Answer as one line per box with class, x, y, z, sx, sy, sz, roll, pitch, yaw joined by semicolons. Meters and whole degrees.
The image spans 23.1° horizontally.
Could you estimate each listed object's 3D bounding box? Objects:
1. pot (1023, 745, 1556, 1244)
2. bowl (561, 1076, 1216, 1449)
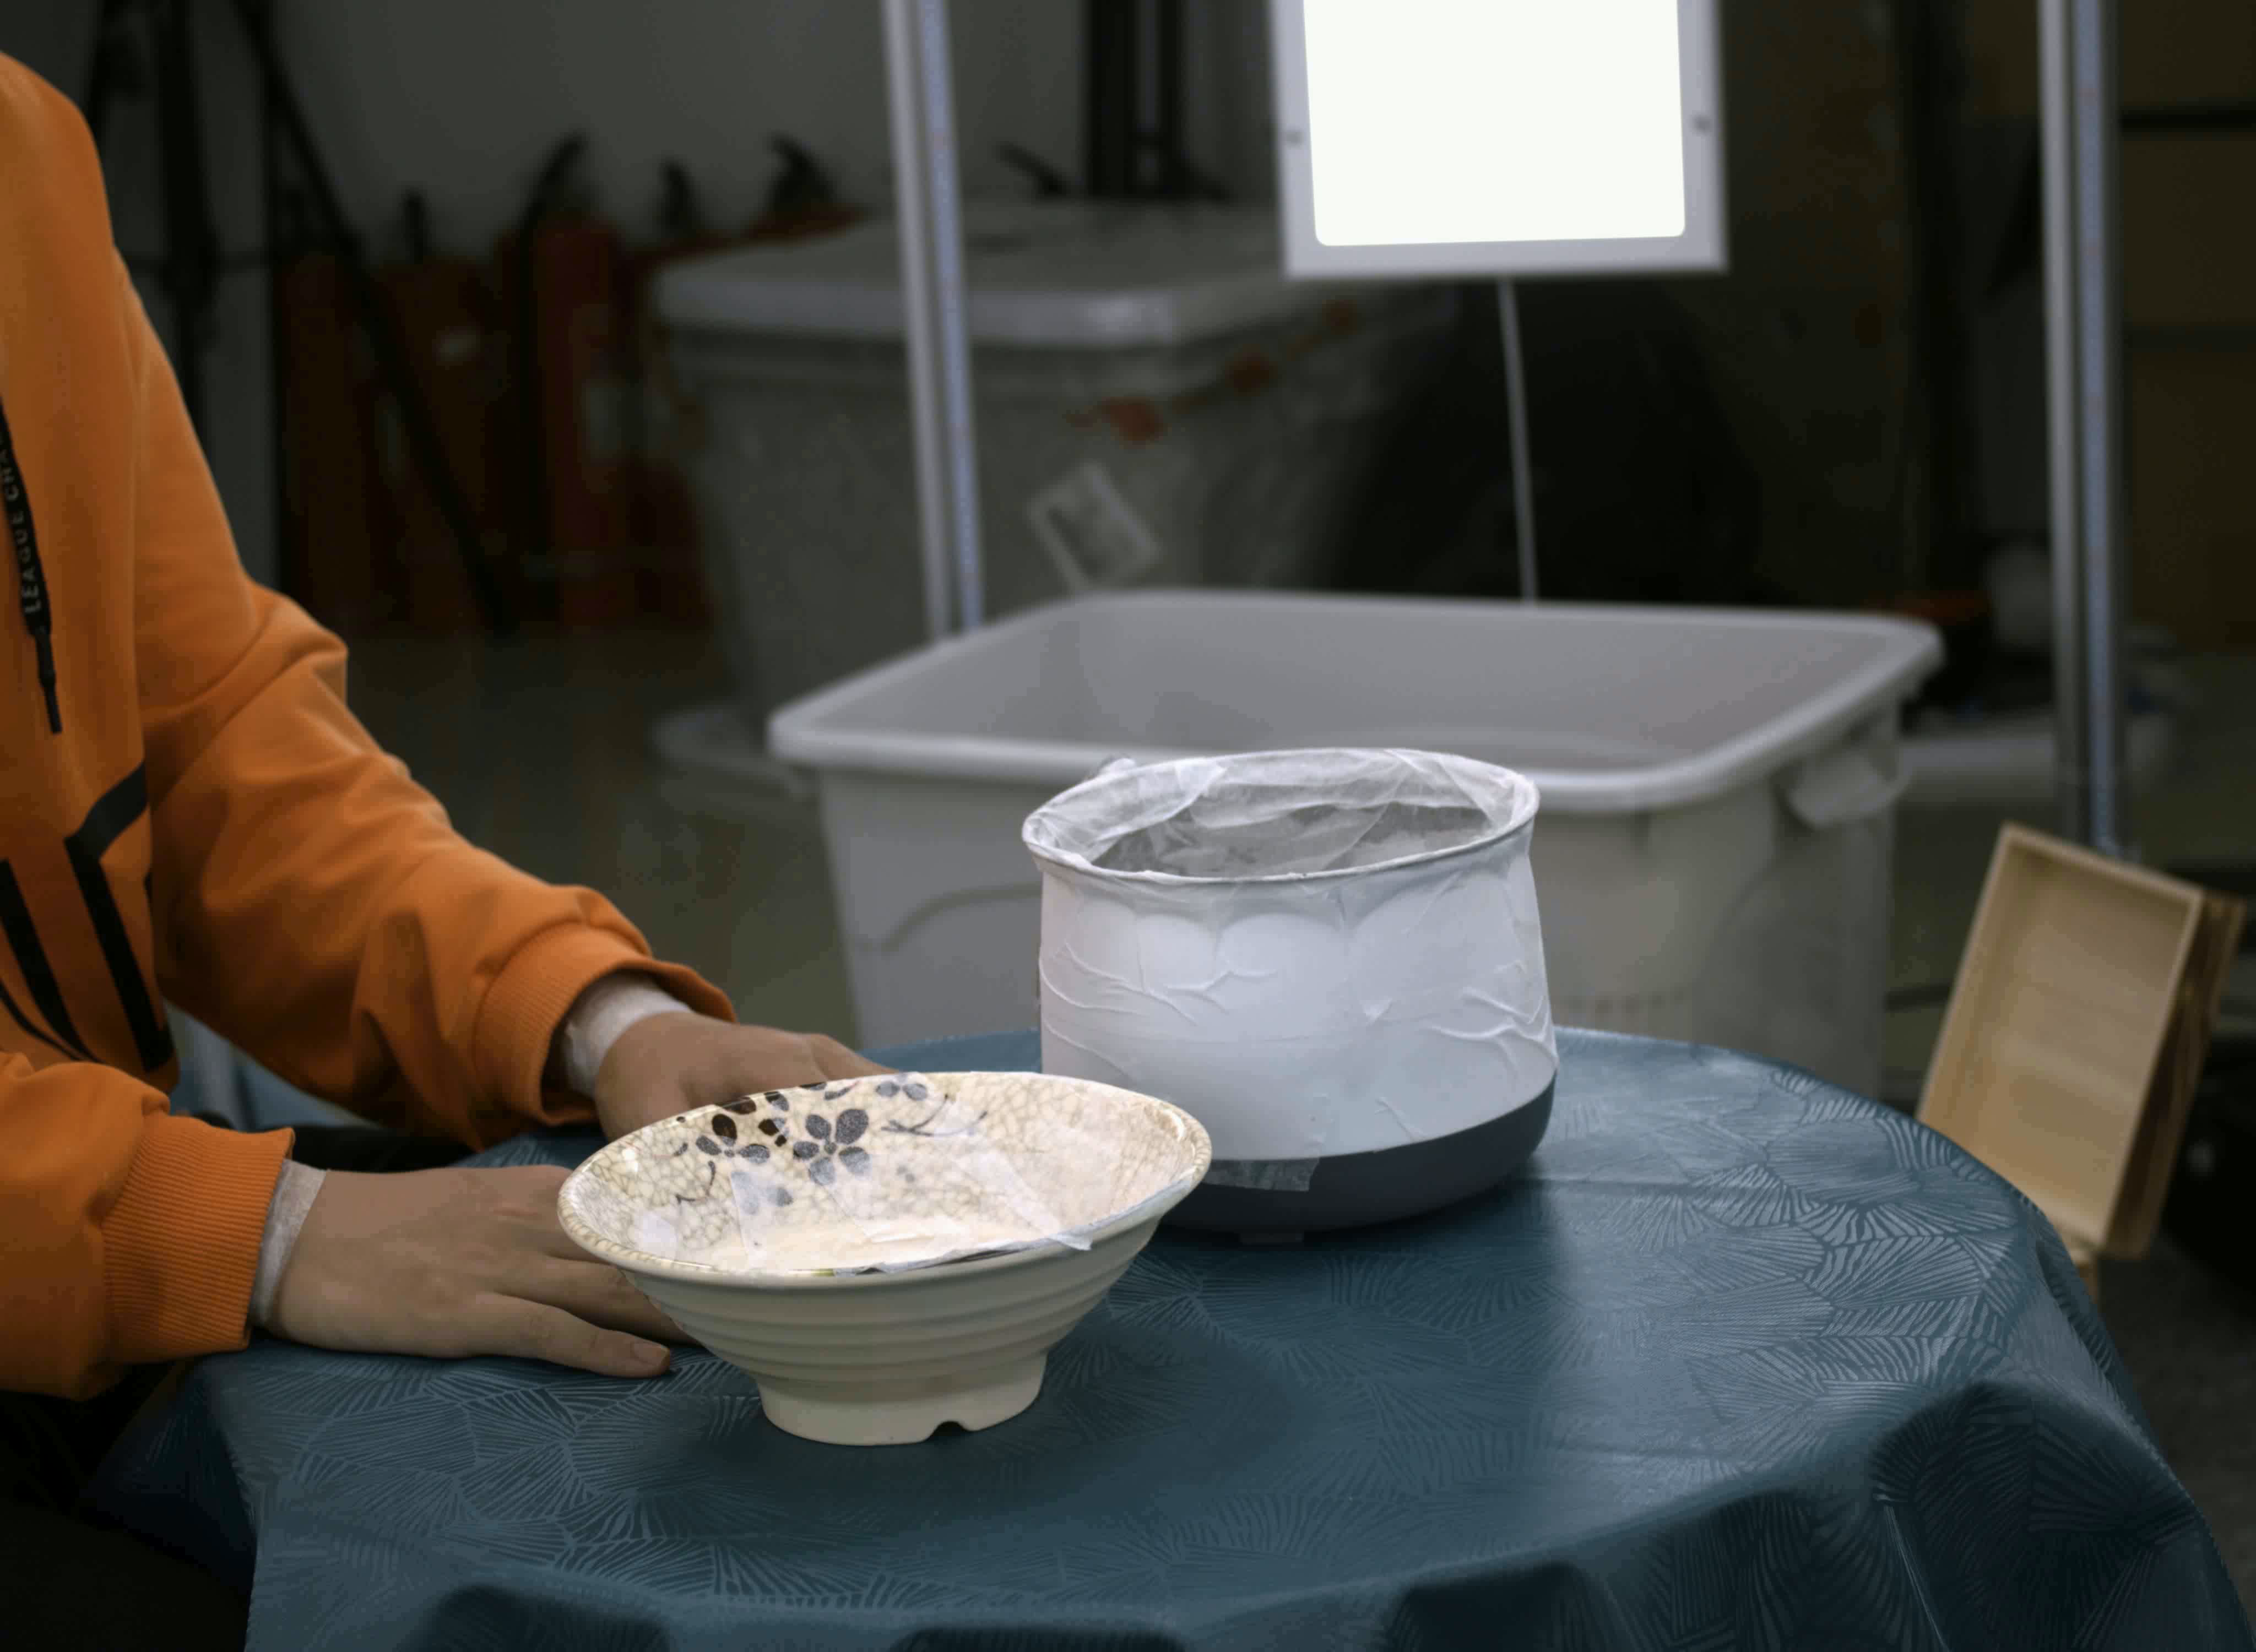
pot;0.040;0.051;1.899;0.174;0.137;0.238;-13;16;-32
bowl;-0.070;0.142;1.704;0.203;0.078;0.204;-7;13;0
